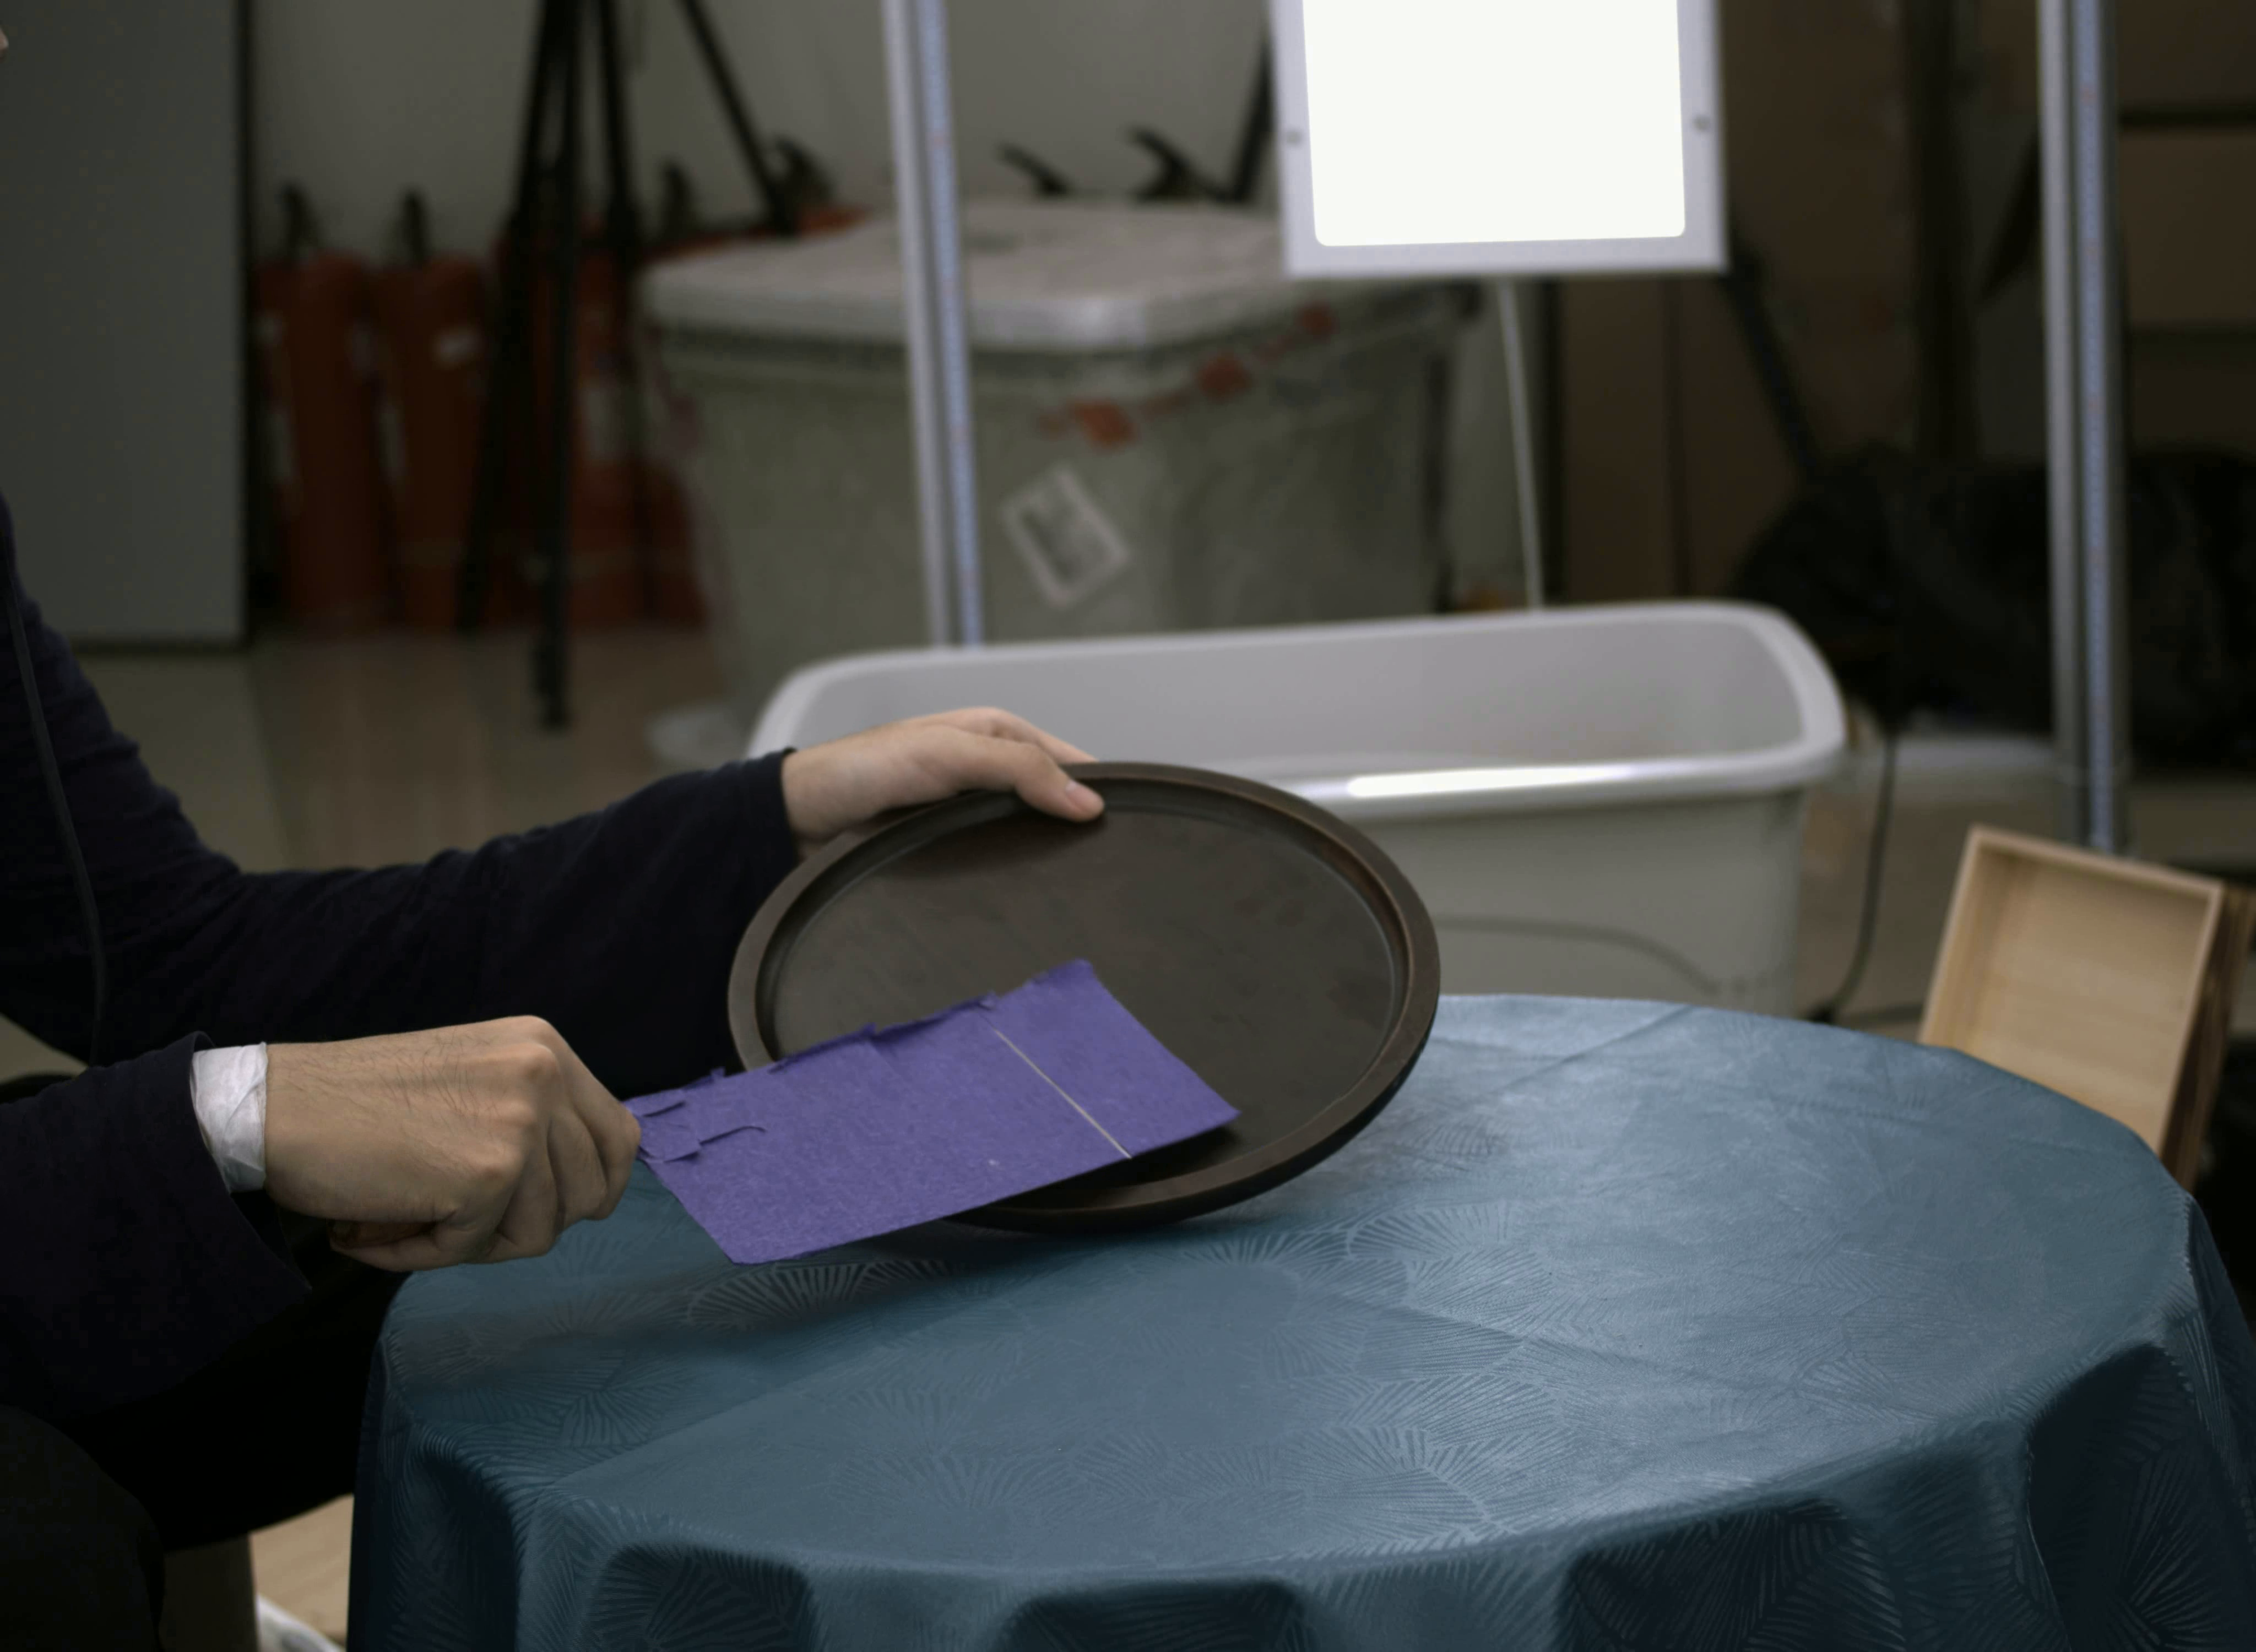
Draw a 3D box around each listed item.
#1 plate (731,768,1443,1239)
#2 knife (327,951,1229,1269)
[{"bbox_3d":[-0.015,0.061,1.947,0.254,0.029,0.254,-4,38,2],"label":"plate"},{"bbox_3d":[-0.107,0.104,1.821,0.308,0.032,0.105,-17,41,-32],"label":"knife"}]
